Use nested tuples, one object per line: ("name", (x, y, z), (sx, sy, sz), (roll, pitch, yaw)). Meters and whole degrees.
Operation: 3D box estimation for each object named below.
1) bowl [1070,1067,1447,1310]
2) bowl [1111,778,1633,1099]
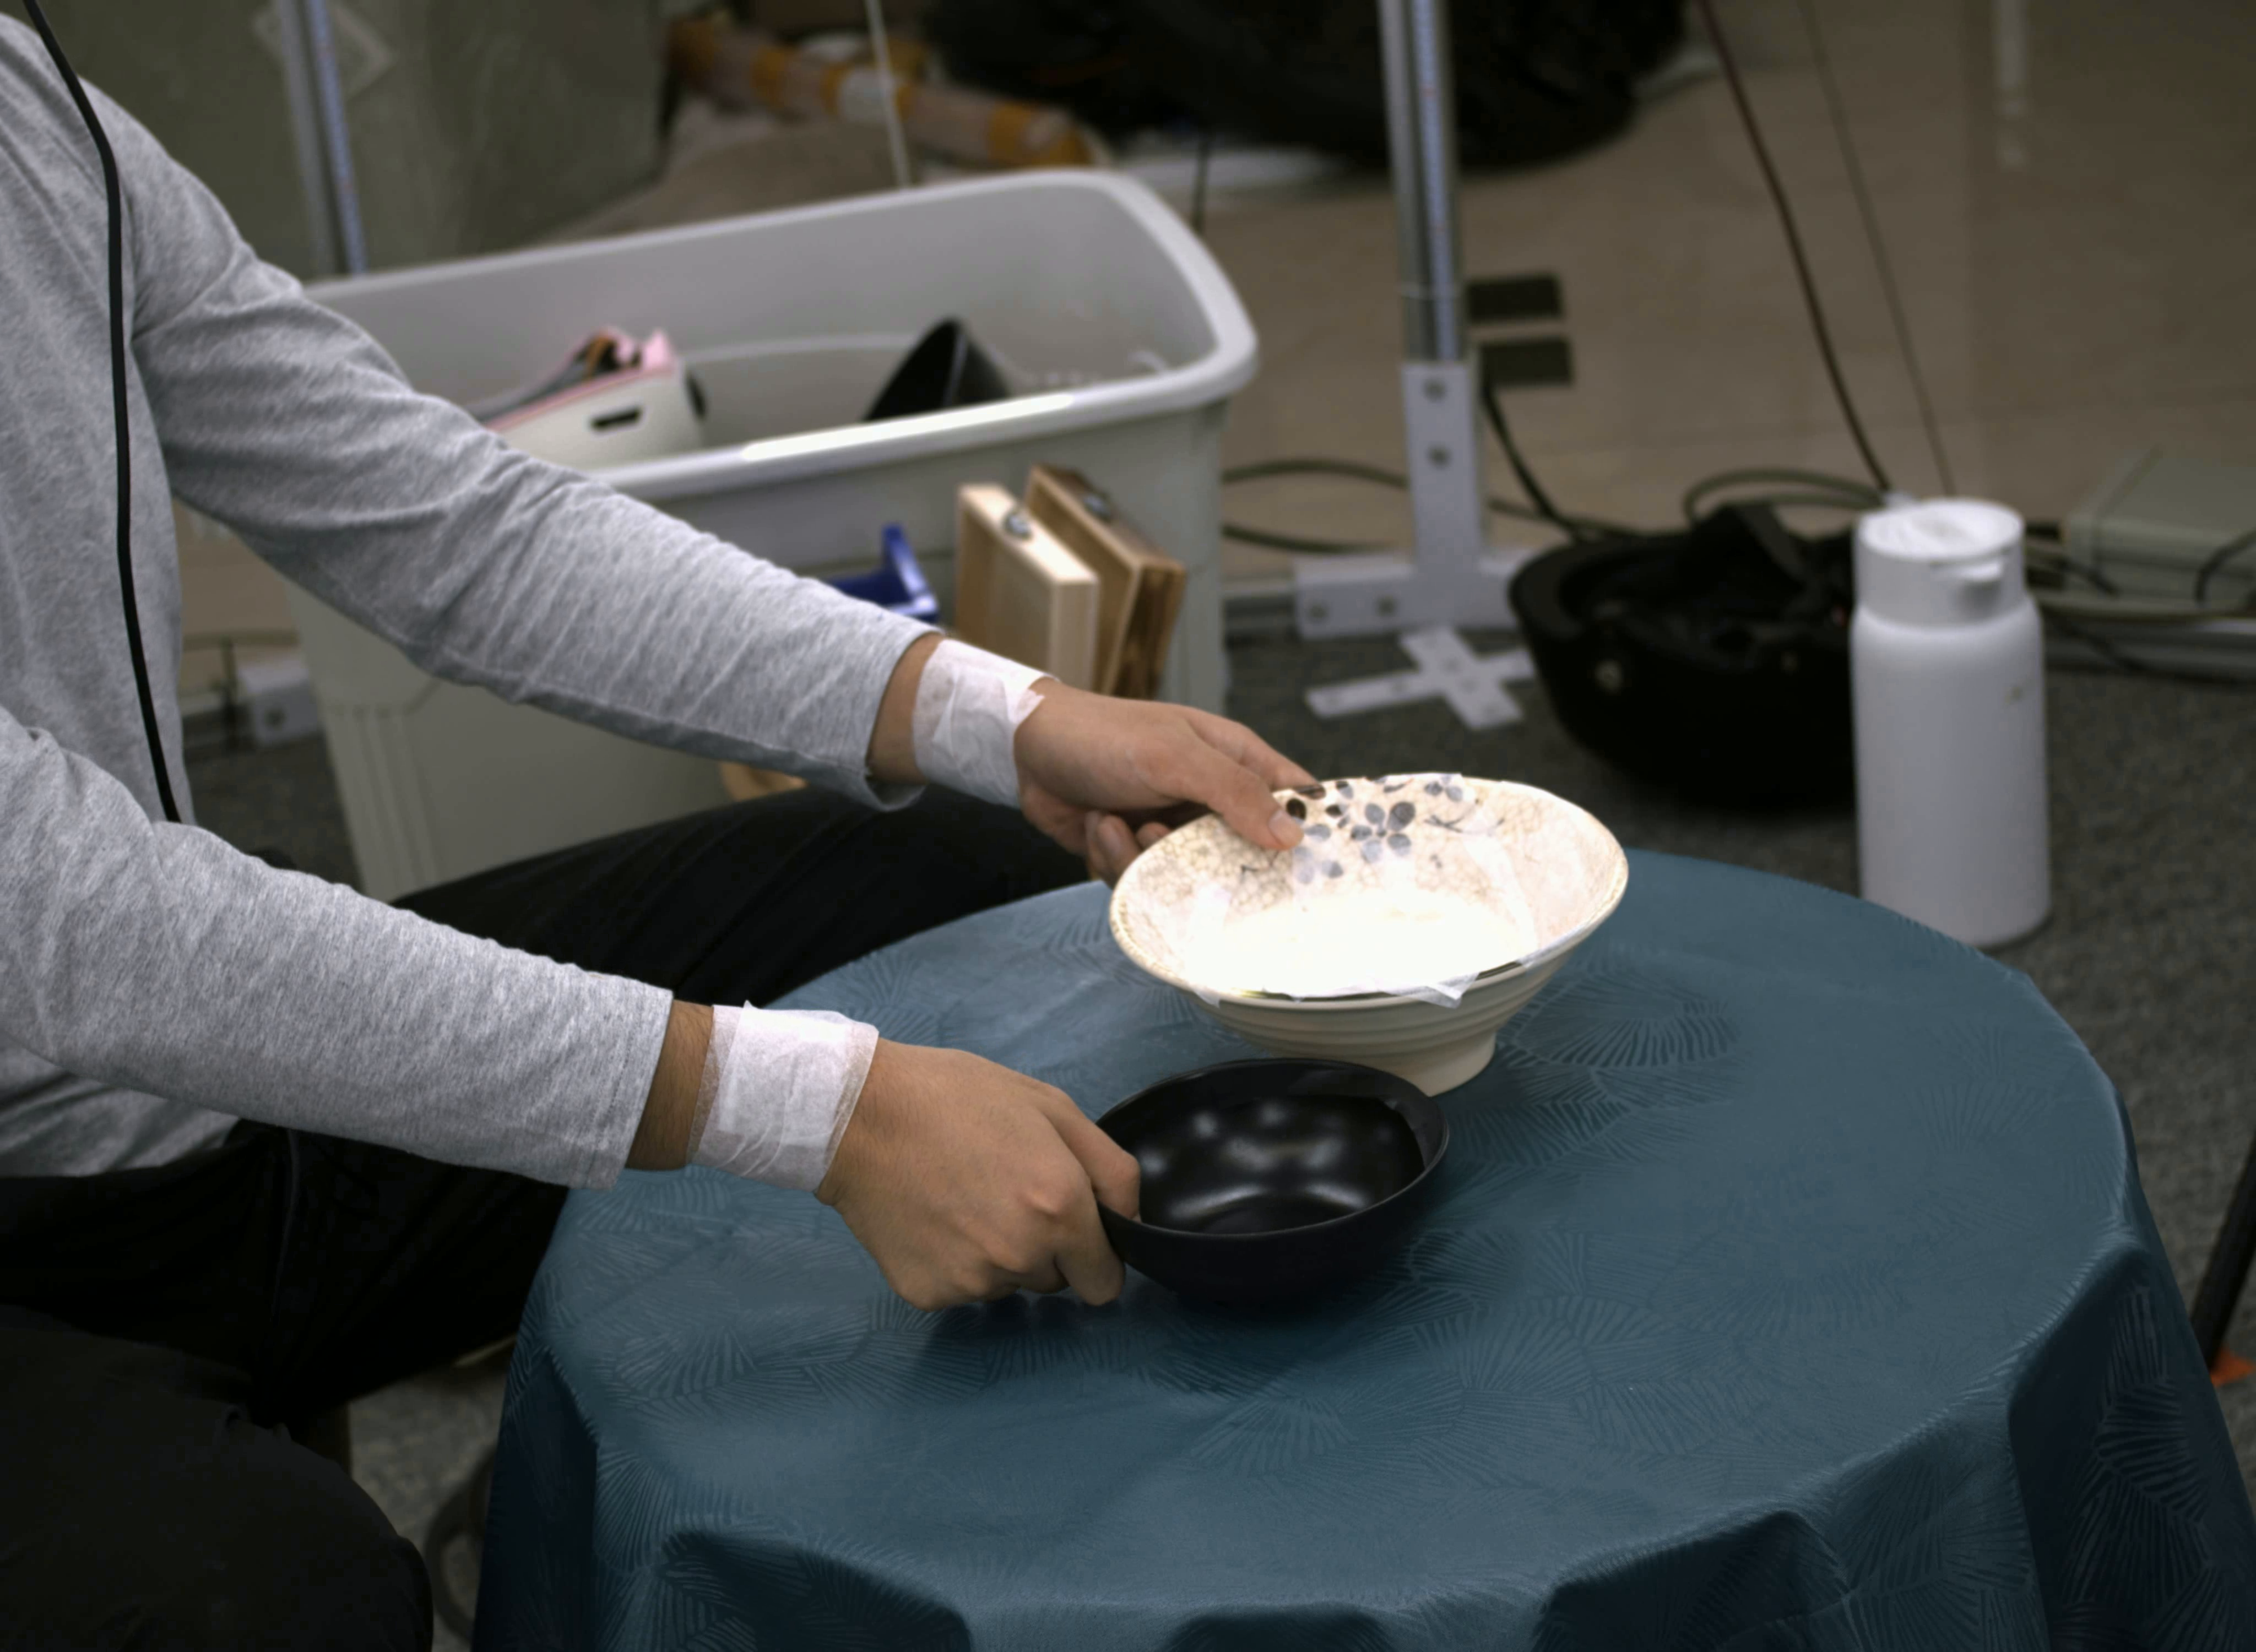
("bowl", (0.050, 0.140, 2.083), (0.140, 0.050, 0.138), (-7, 22, 3))
("bowl", (0.098, 0.055, 2.213), (0.203, 0.079, 0.201), (-6, 24, 3))
